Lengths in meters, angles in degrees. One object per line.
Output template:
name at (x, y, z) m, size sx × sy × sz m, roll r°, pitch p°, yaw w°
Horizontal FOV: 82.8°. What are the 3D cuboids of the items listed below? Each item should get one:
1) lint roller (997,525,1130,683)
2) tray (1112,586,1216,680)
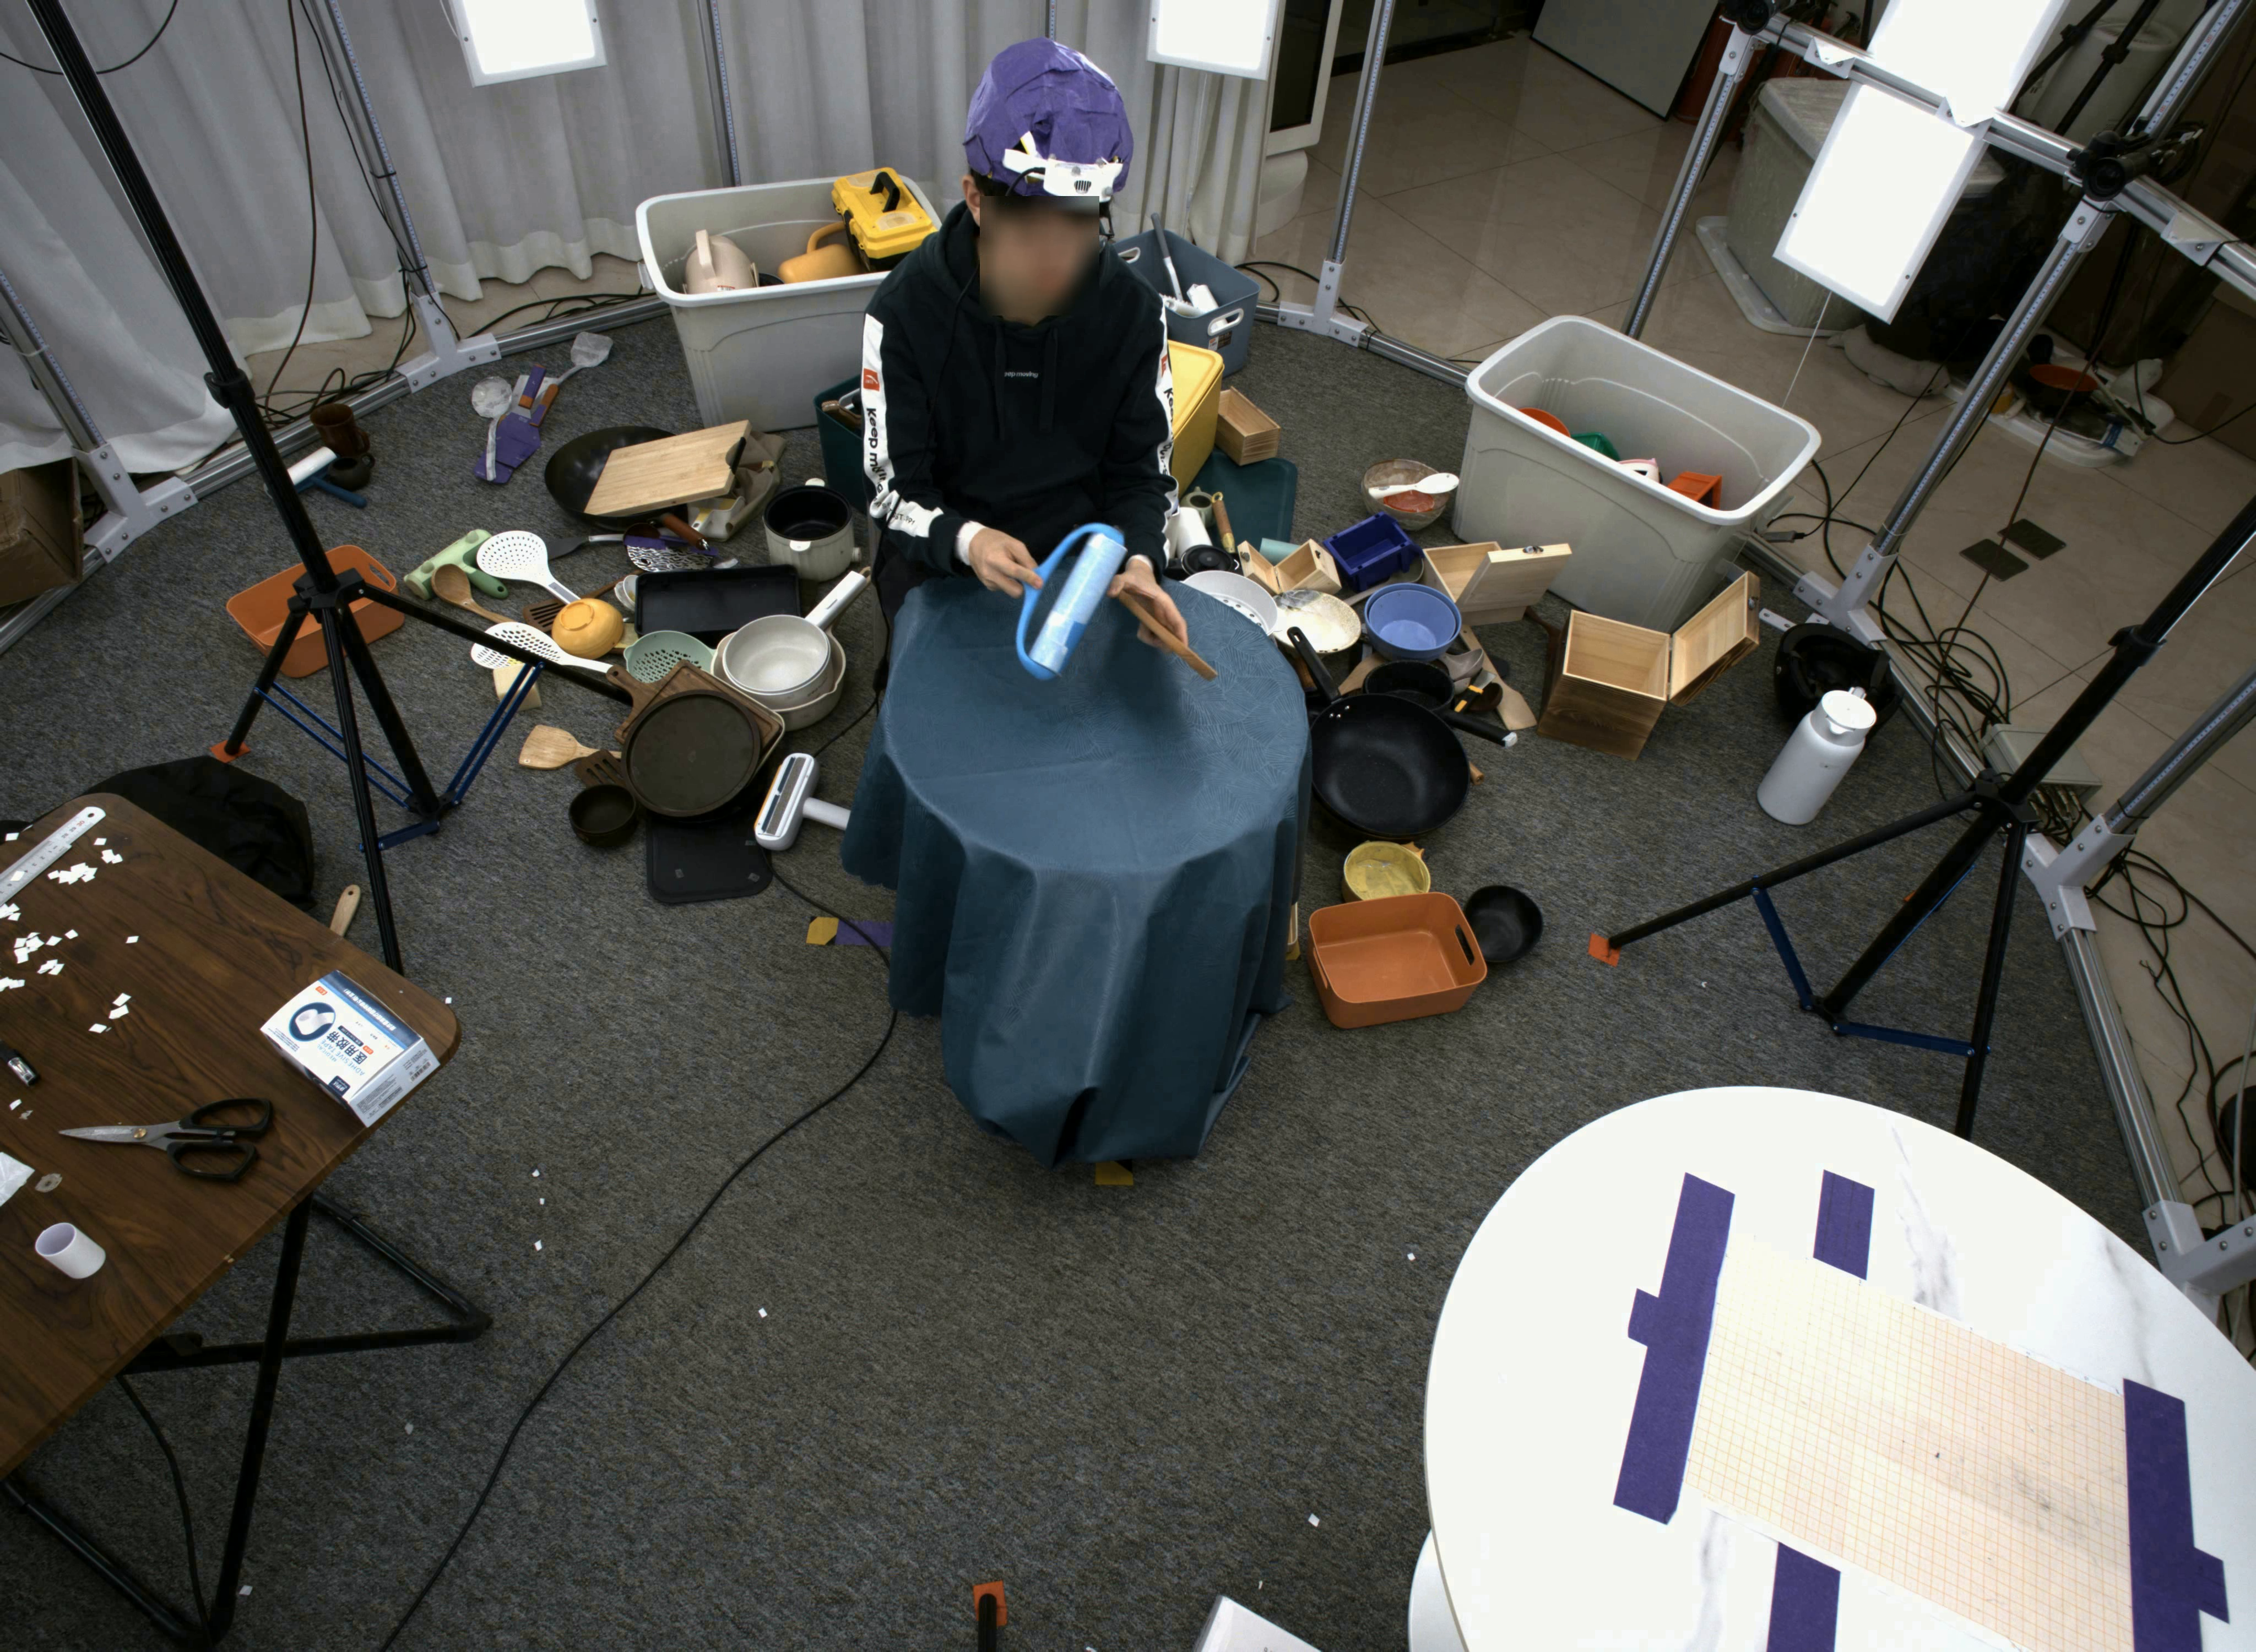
lint roller at (-0.116, -0.326, 1.773) m, size 0.182 × 0.067 × 0.228 m, roll 26°, pitch 92°, yaw 19°
tray at (0.046, -0.267, 1.775) m, size 0.020 × 0.100 × 0.236 m, roll -49°, pitch 42°, yaw 7°
